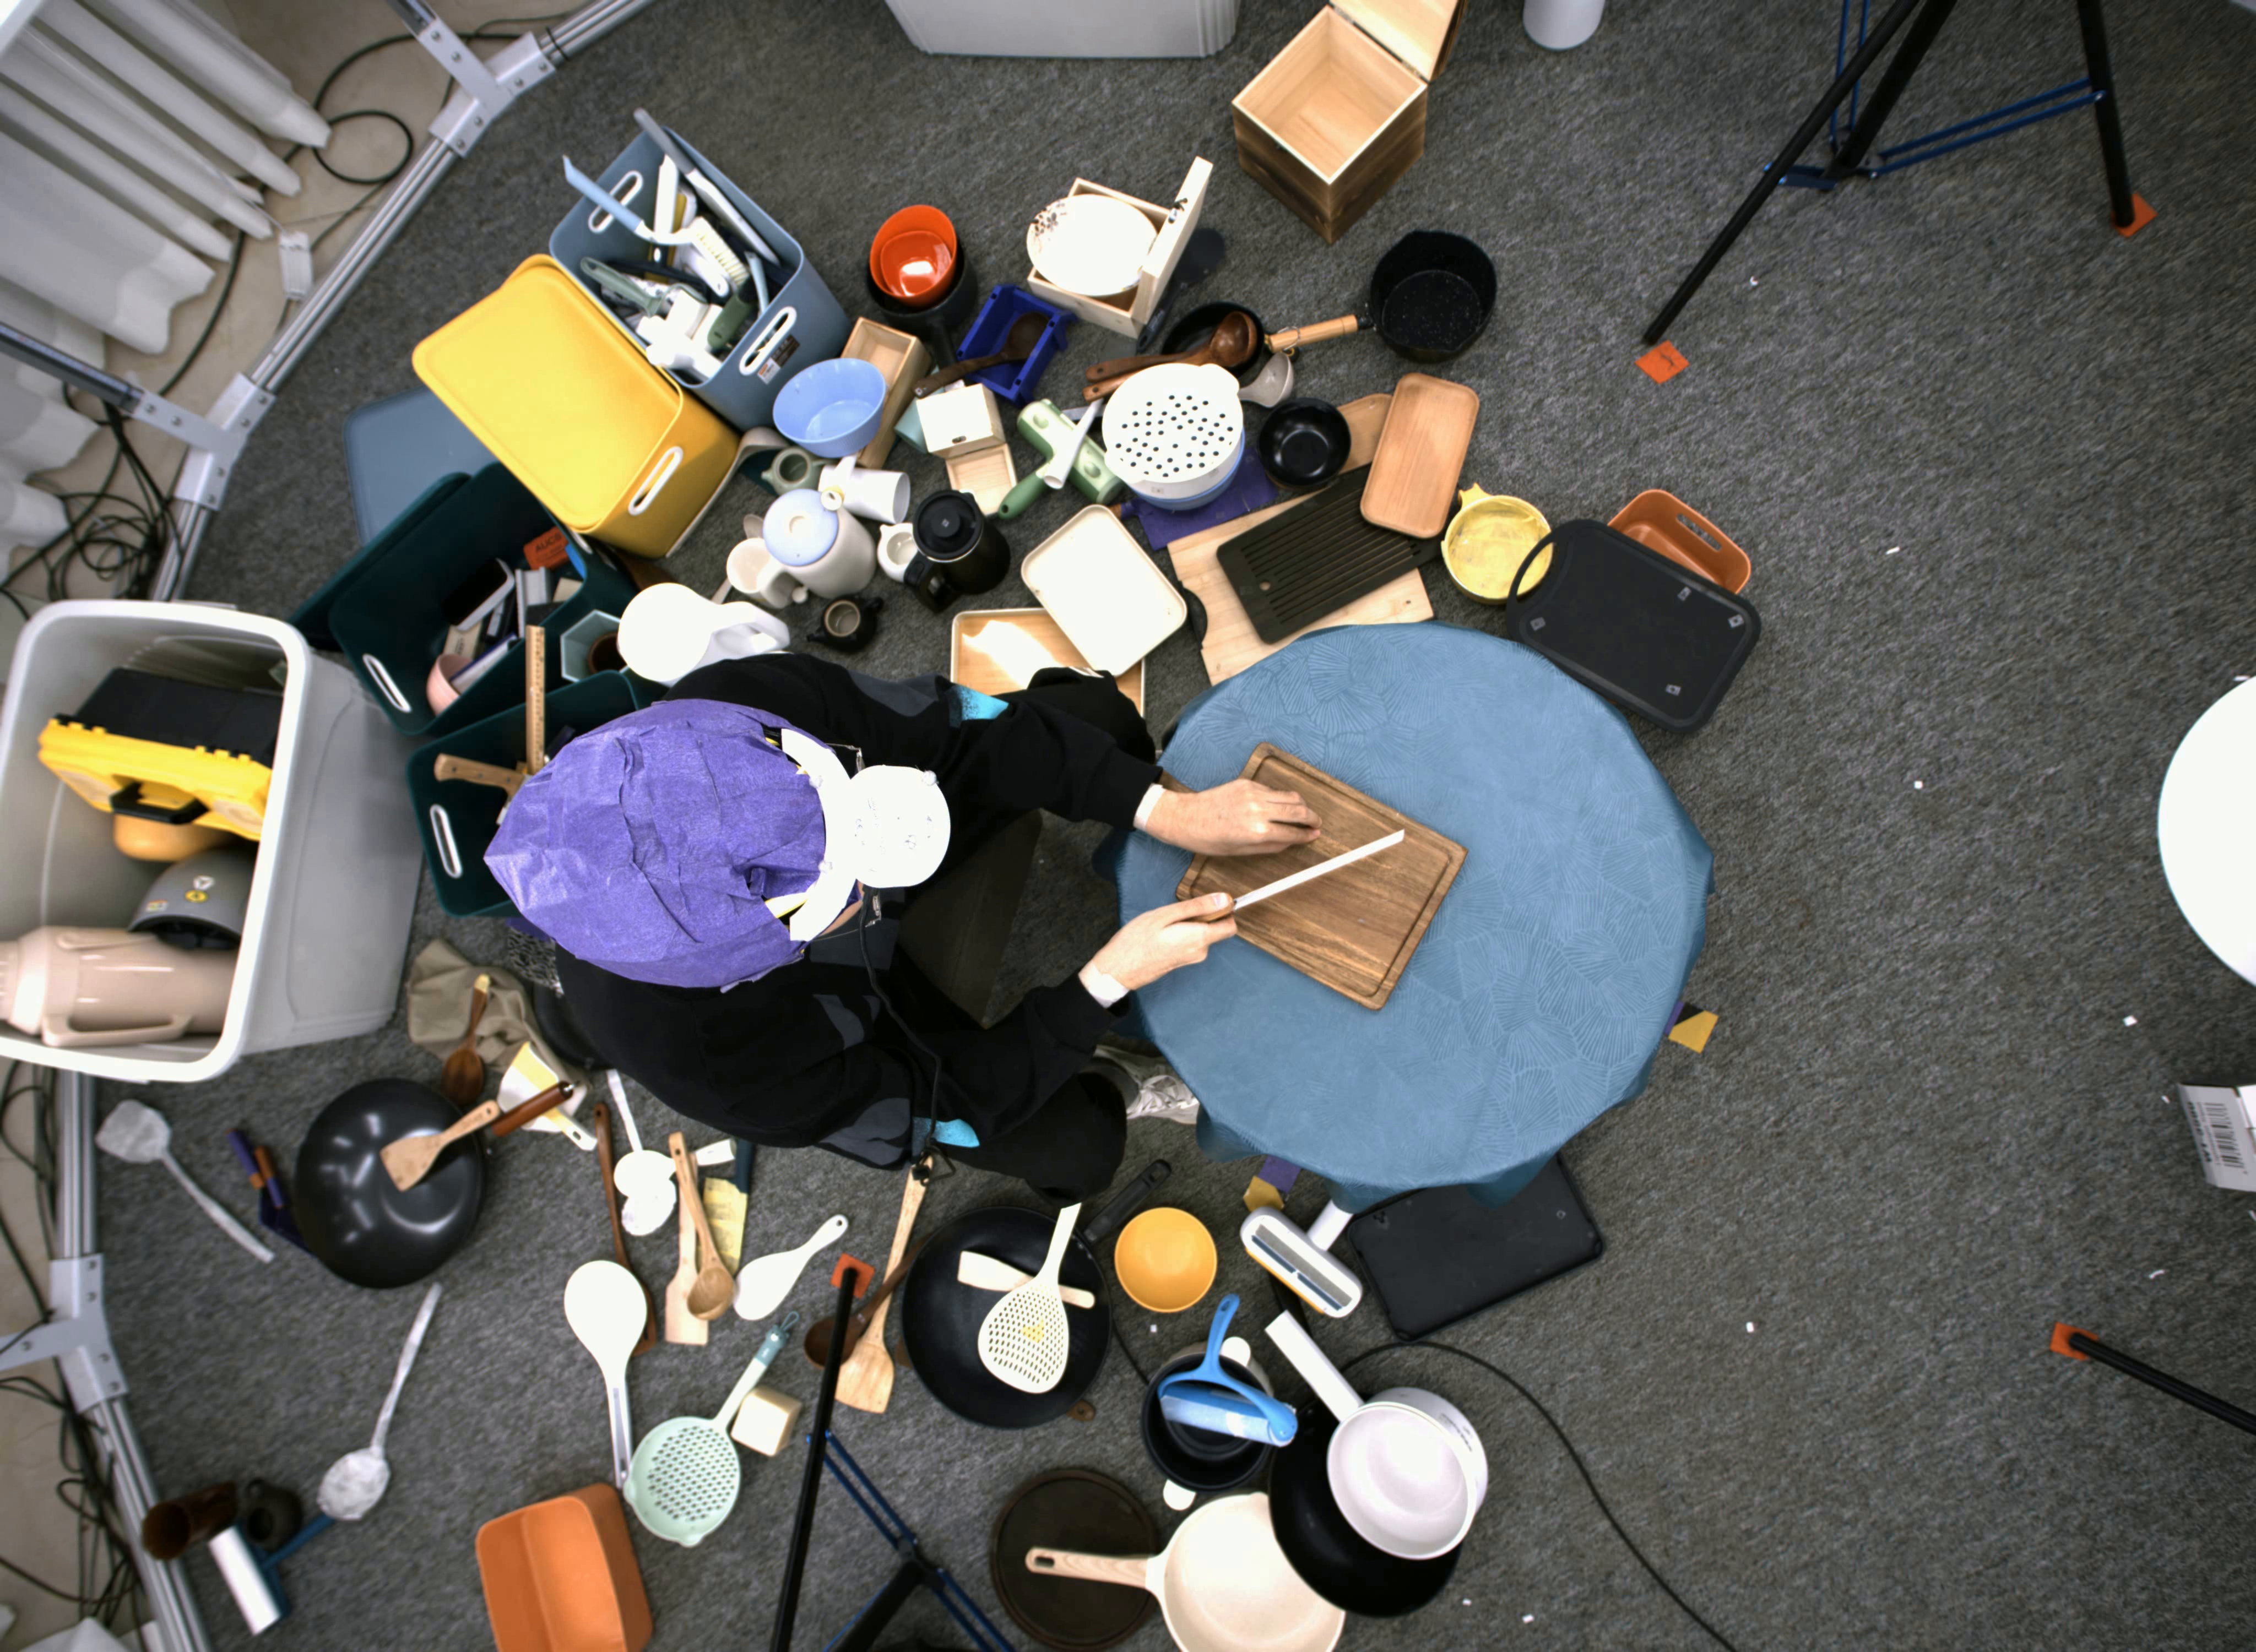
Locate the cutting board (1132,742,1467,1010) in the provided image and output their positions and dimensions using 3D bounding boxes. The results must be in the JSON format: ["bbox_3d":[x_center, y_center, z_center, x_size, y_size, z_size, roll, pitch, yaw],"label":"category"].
[{"bbox_3d":[0.161,0.028,1.472,0.351,0.023,0.201,29,92,11],"label":"cutting board"}]

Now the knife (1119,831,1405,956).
[{"bbox_3d":[0.138,0.067,1.405,0.307,0.093,0.021,-23,80,9],"label":"knife"}]
